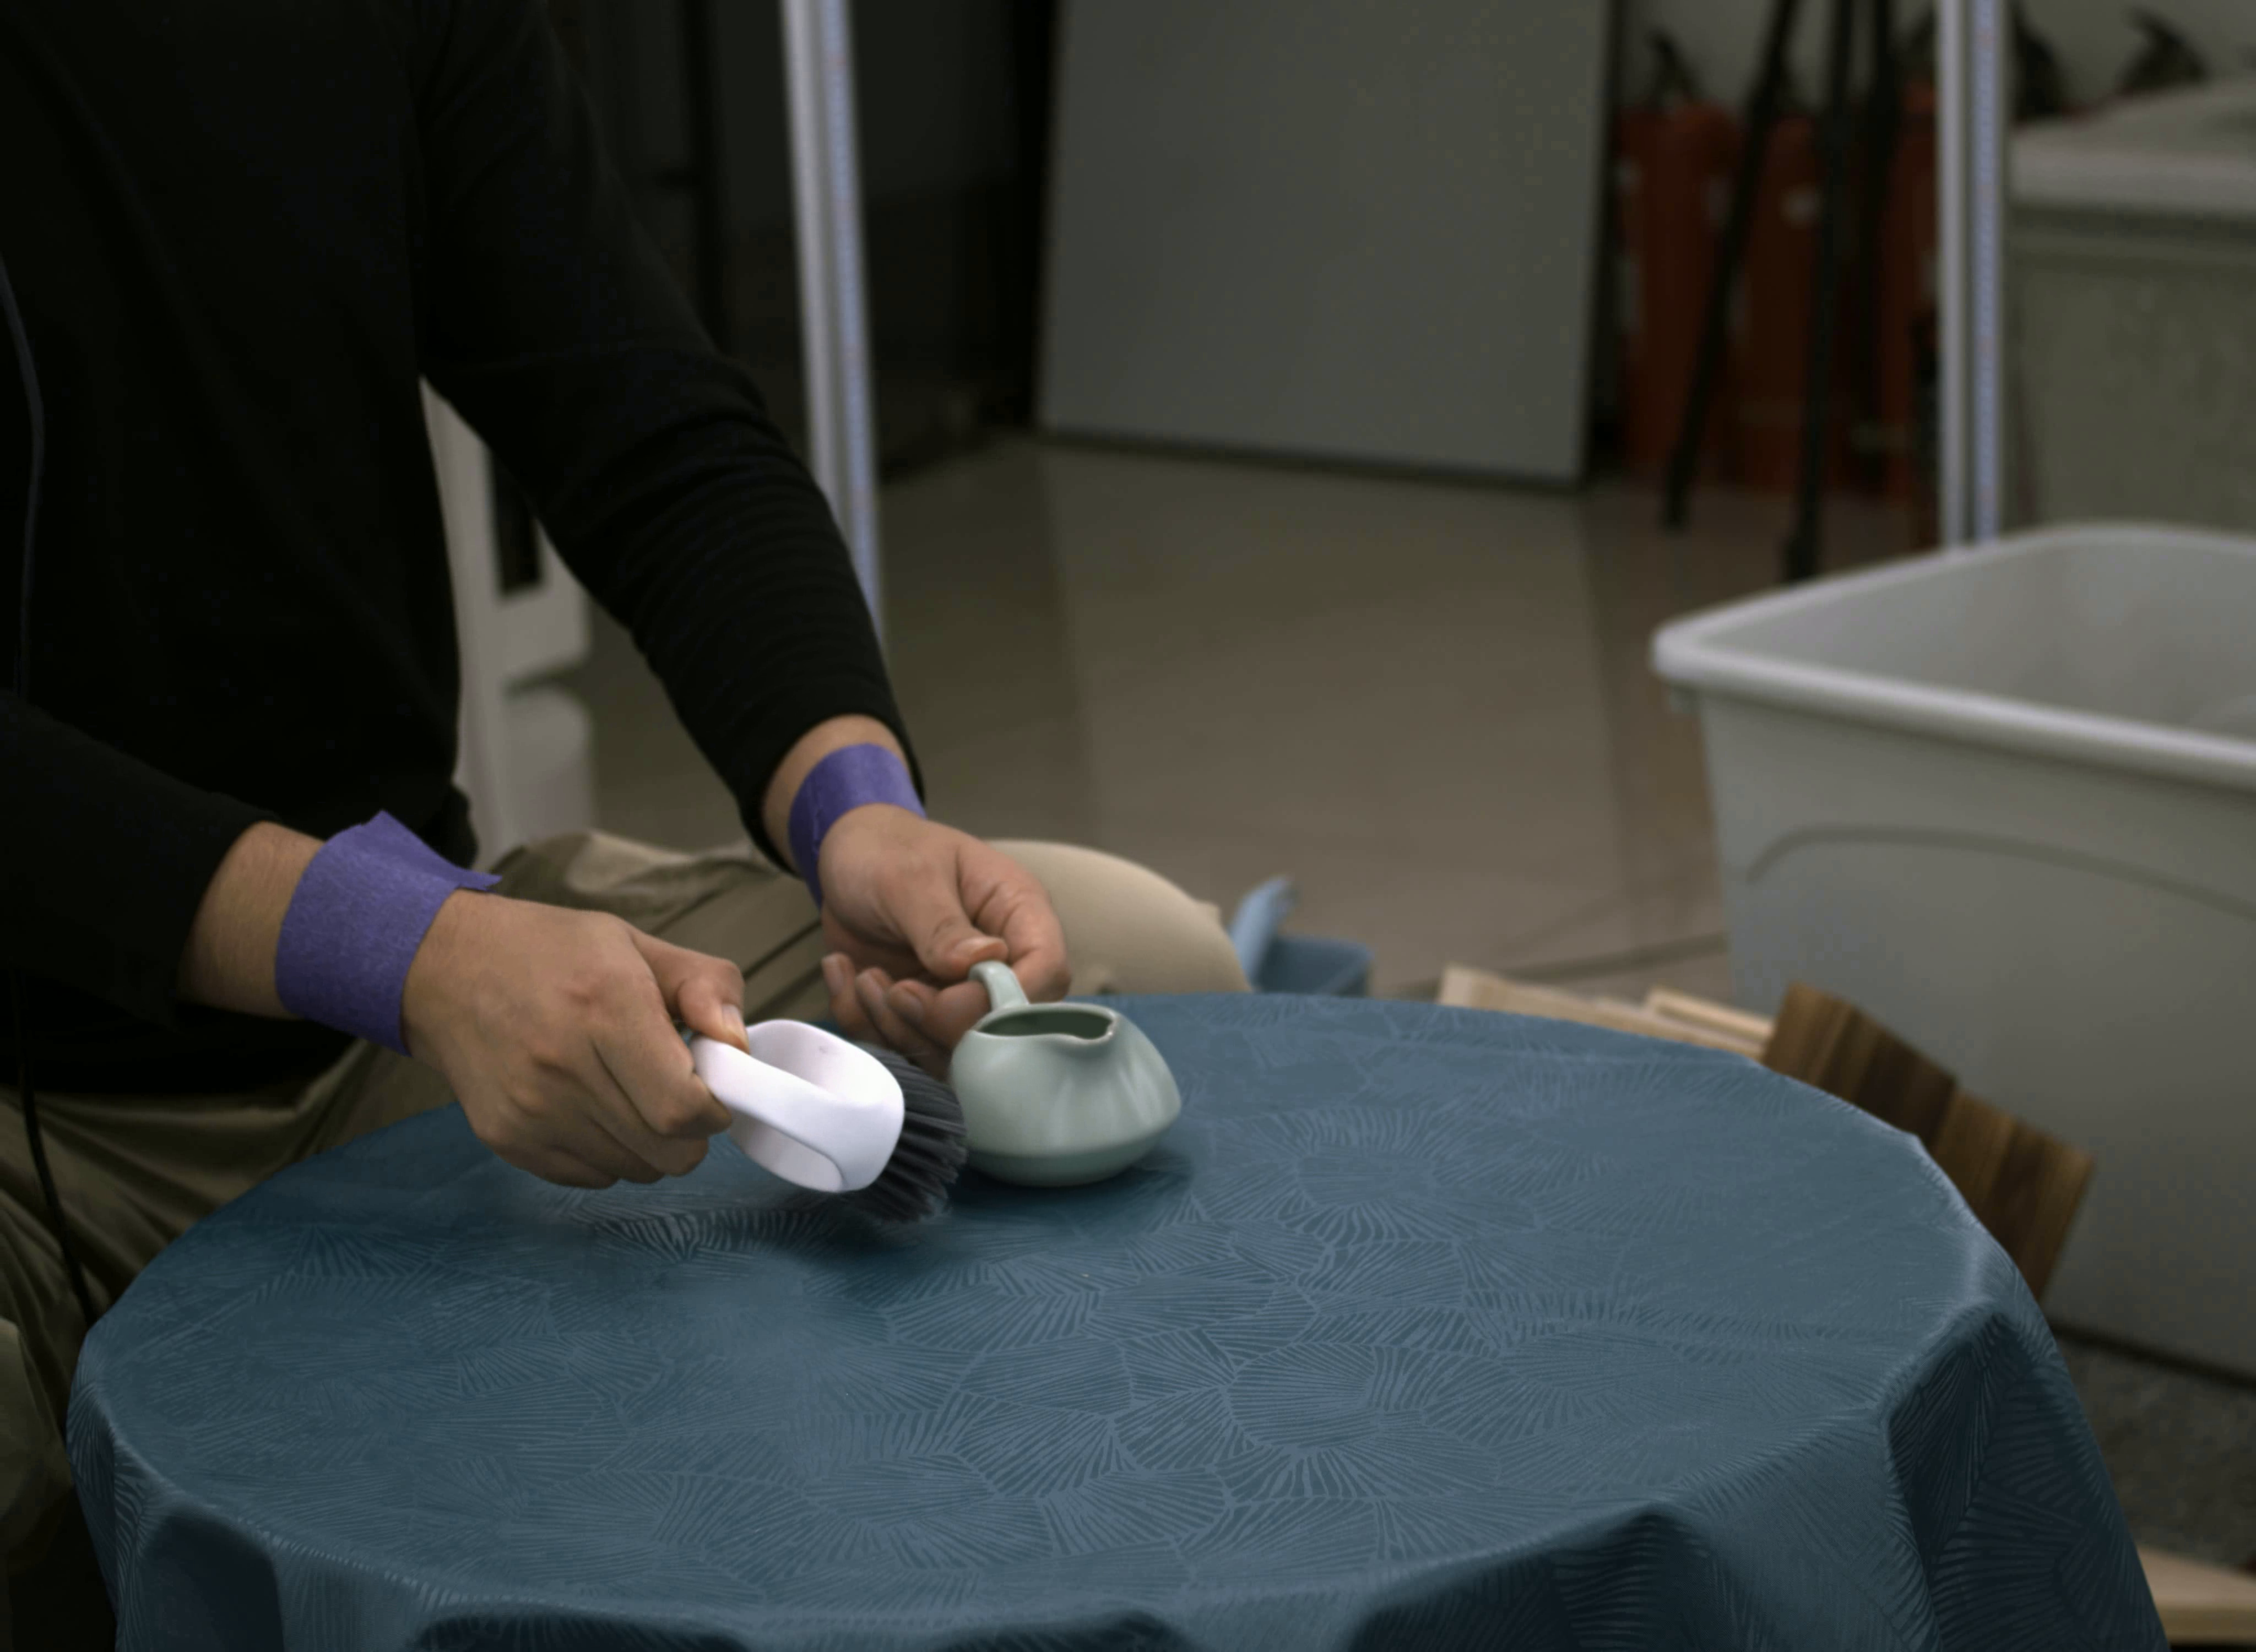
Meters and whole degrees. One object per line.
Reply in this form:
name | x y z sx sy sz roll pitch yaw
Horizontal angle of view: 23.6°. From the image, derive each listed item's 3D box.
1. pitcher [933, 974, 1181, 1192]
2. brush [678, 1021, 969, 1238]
pitcher | -0.030 0.086 1.802 0.084 0.061 0.109 -7 12 -24
brush | -0.106 0.091 1.742 0.071 0.050 0.100 25 1 -34
